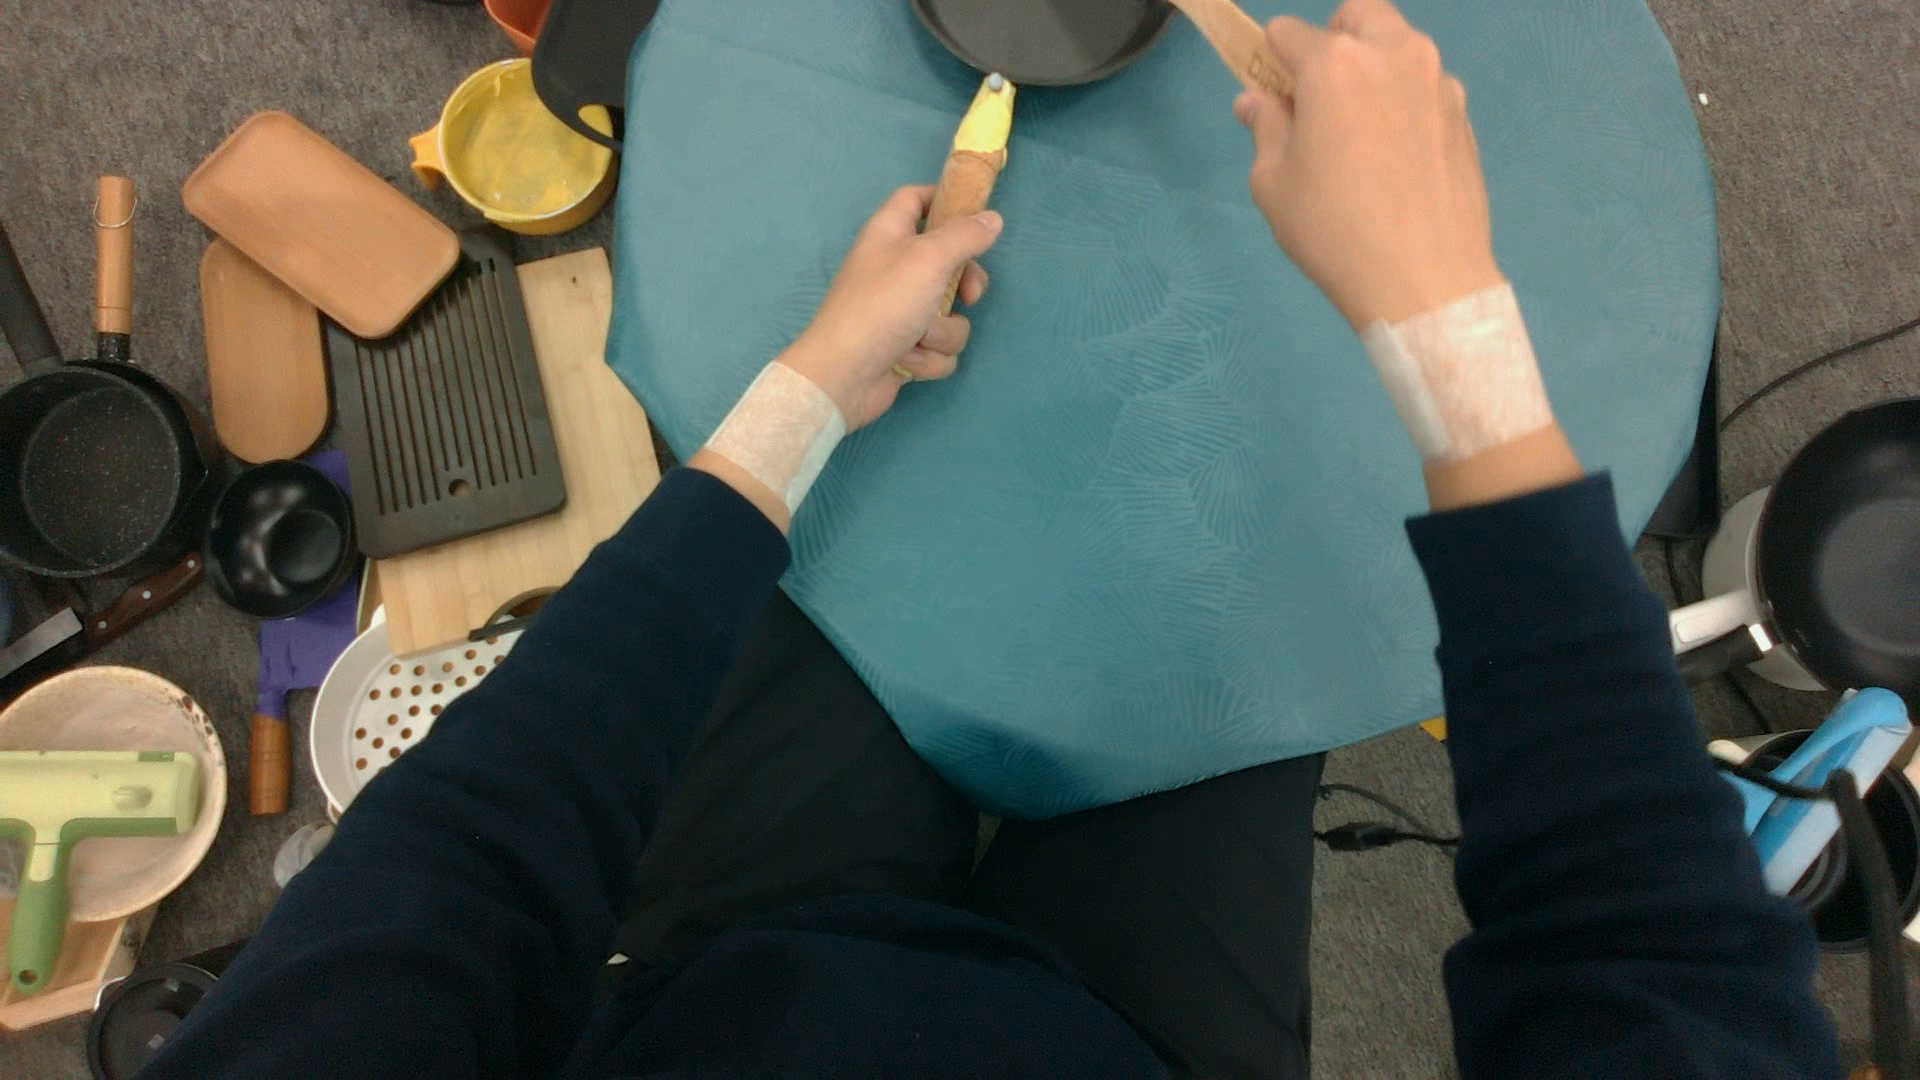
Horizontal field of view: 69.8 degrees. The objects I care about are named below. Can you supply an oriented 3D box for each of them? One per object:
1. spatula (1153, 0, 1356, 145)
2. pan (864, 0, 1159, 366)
[{"bbox_3d":[0.082,-0.253,0.616,0.016,0.079,0.328,-4,40,-23],"label":"spatula"},{"bbox_3d":[0.005,-0.237,0.717,0.169,0.049,0.325,18,78,-1],"label":"pan"}]
